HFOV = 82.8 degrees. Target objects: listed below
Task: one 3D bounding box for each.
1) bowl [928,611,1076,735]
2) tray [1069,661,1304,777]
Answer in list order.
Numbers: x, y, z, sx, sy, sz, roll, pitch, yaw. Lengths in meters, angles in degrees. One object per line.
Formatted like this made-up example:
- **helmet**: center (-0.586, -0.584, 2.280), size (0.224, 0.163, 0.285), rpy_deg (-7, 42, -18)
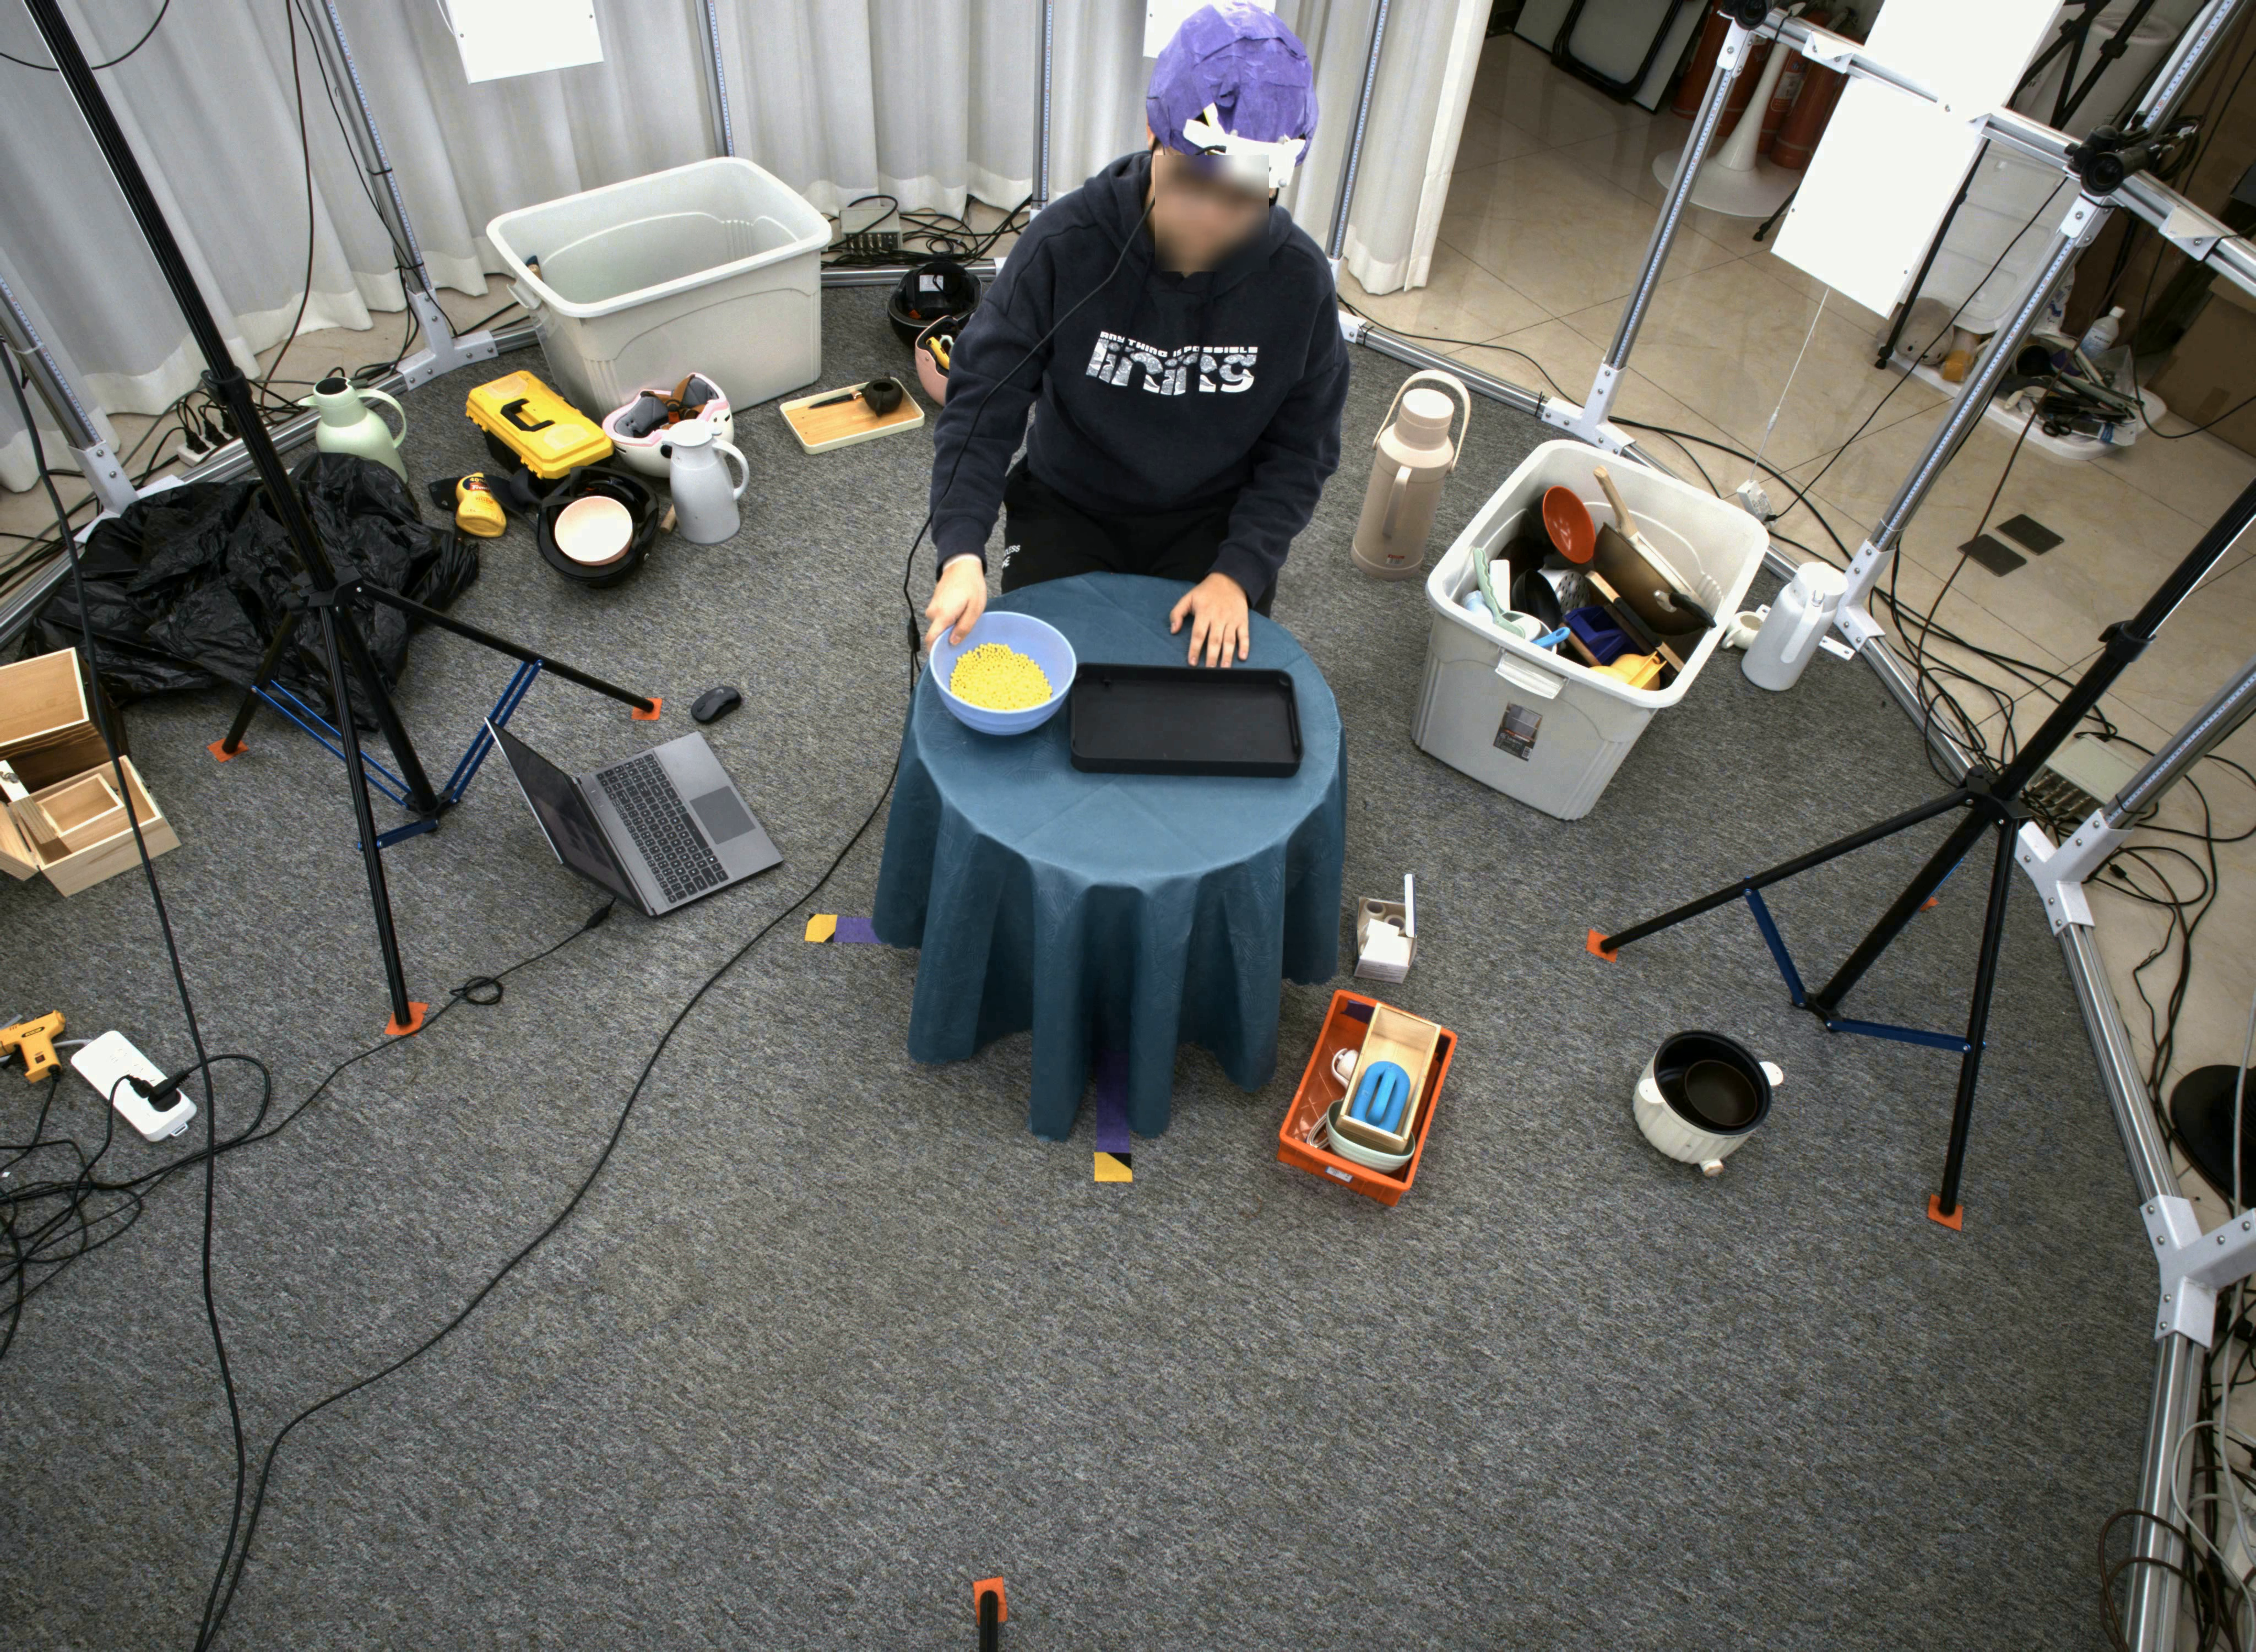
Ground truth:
- **bowl**: center (-0.172, -0.194, 1.757), size (0.196, 0.093, 0.201), rpy_deg (2, 50, -3)
- **tray**: center (0.076, -0.149, 1.776), size (0.317, 0.036, 0.189), rpy_deg (2, 49, -3)
